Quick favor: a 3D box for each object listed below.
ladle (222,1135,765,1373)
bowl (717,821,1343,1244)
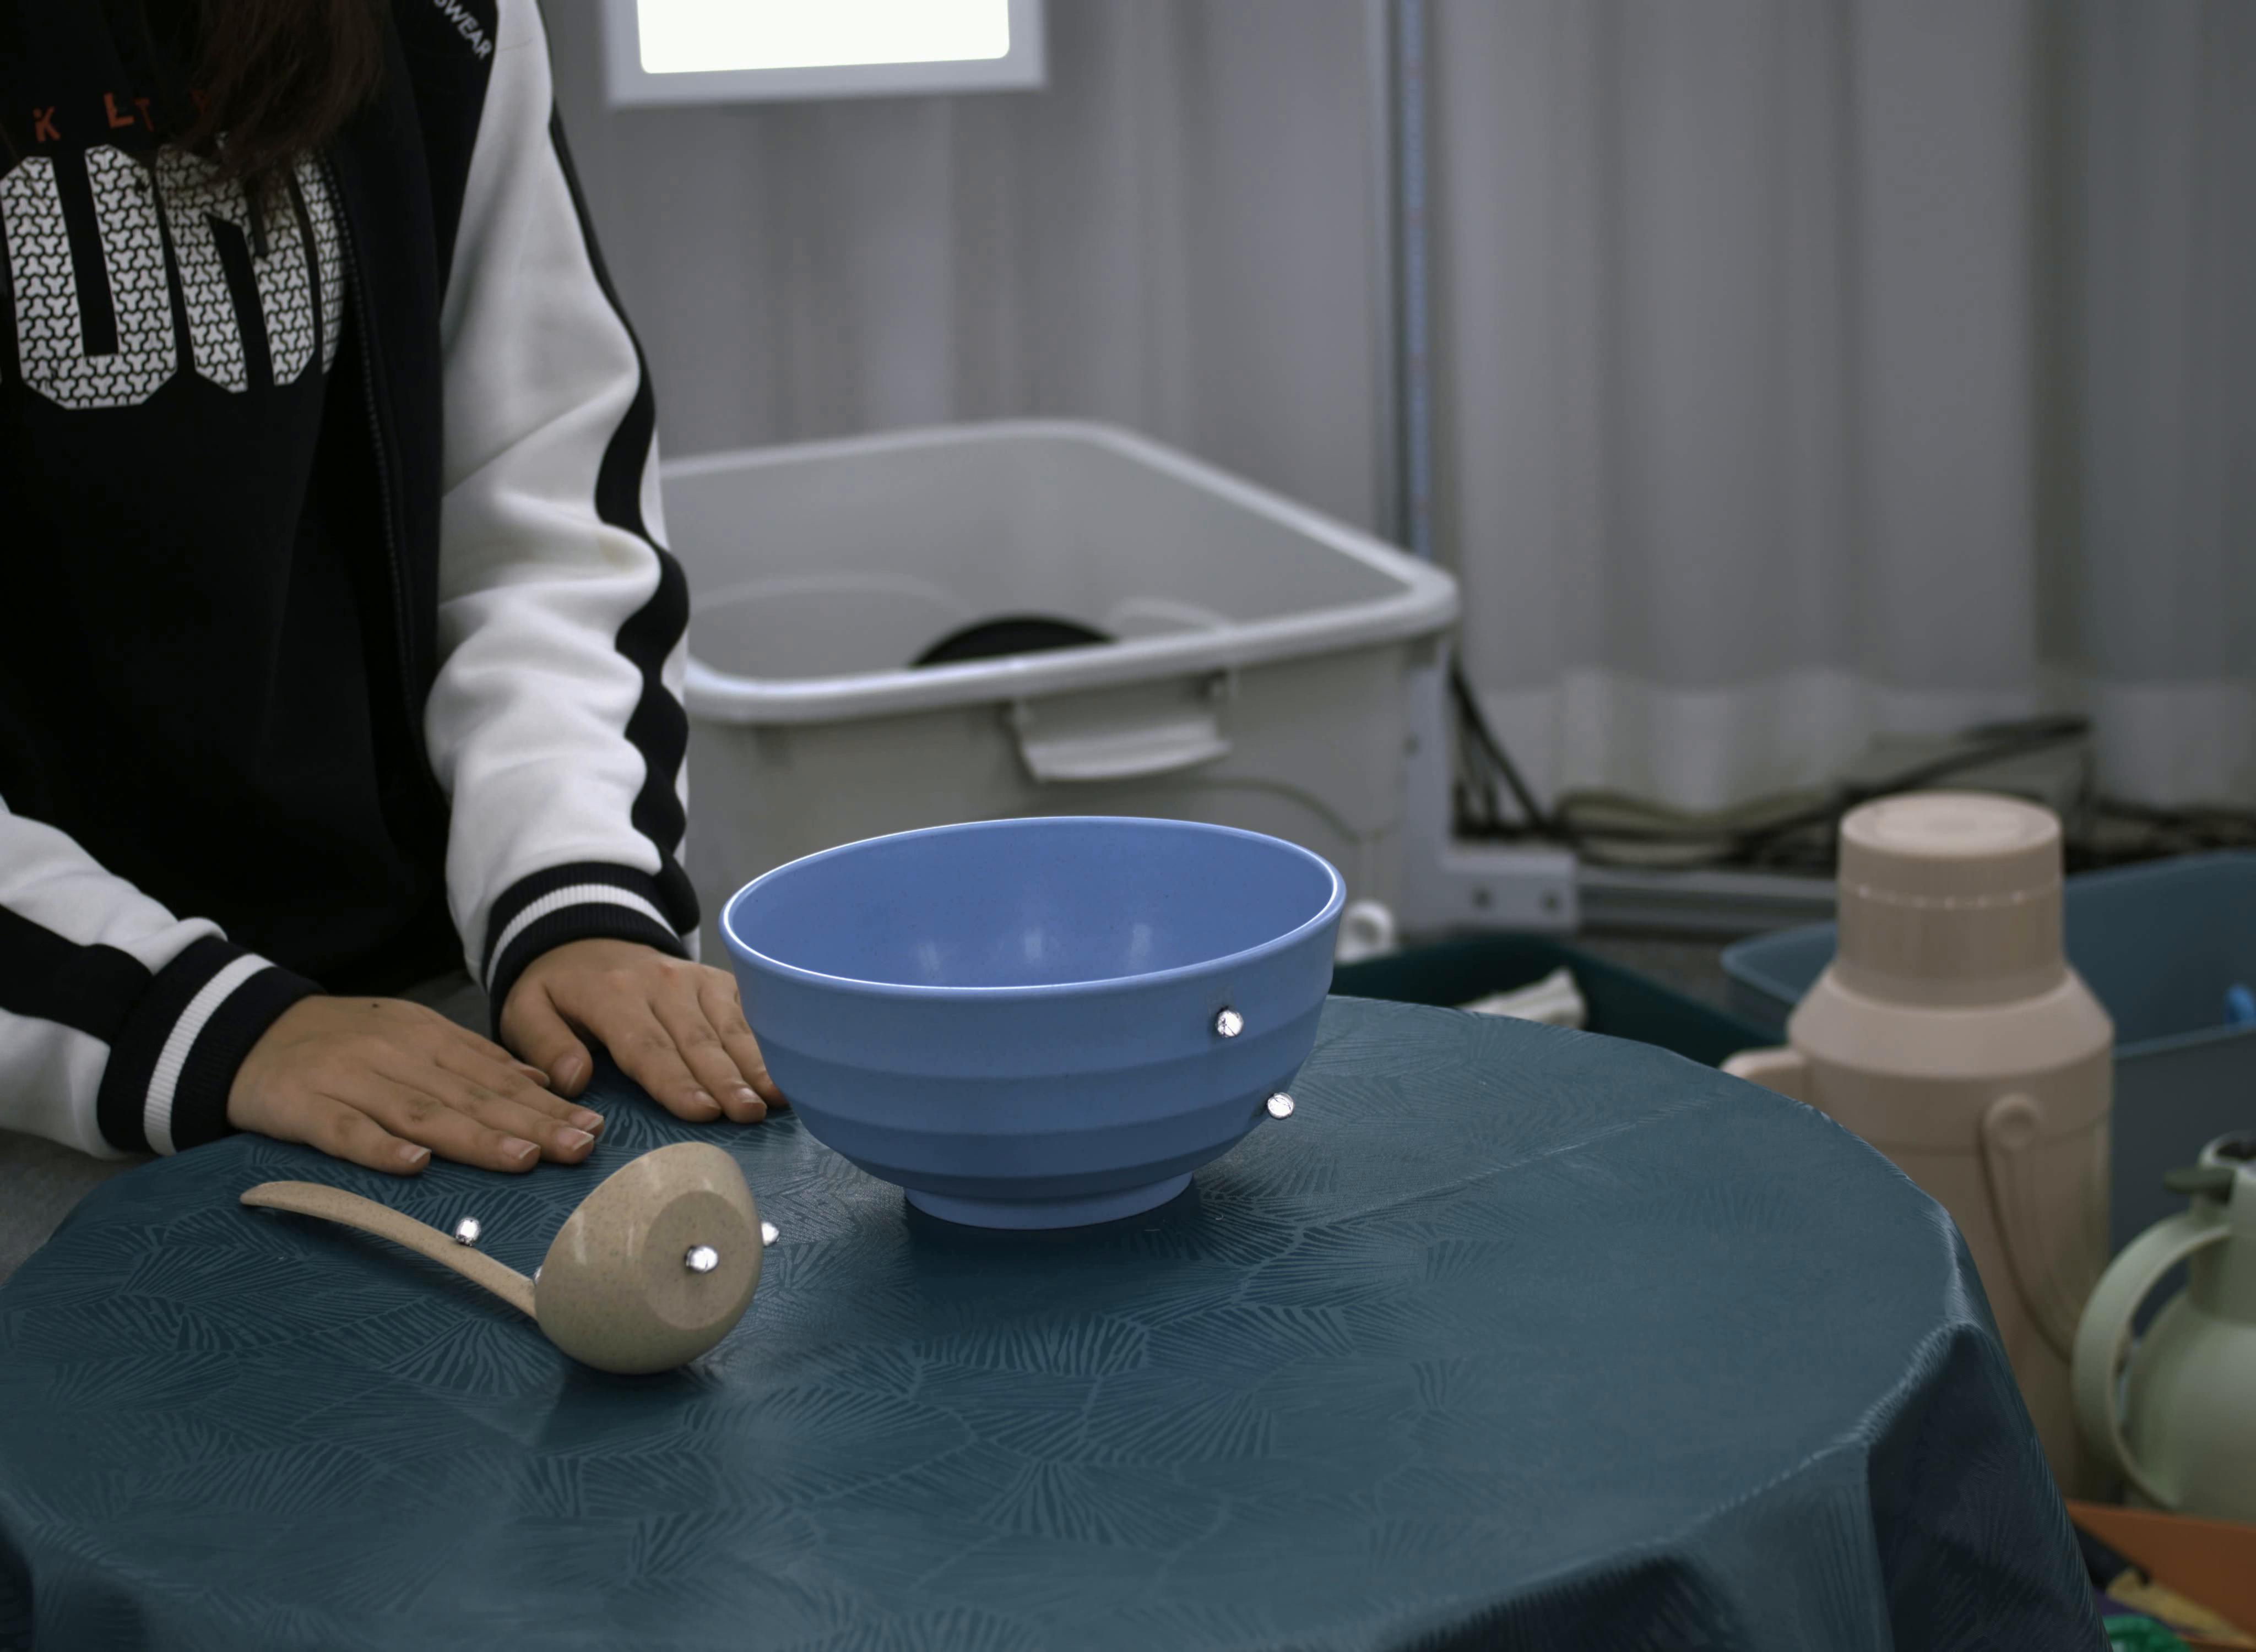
[{"bbox_3d":[-0.203,0.106,1.644,0.072,0.072,0.256,-14,18,-39],"label":"ladle"},{"bbox_3d":[-0.027,0.071,1.716,0.196,0.095,0.198,-4,15,1],"label":"bowl"}]
